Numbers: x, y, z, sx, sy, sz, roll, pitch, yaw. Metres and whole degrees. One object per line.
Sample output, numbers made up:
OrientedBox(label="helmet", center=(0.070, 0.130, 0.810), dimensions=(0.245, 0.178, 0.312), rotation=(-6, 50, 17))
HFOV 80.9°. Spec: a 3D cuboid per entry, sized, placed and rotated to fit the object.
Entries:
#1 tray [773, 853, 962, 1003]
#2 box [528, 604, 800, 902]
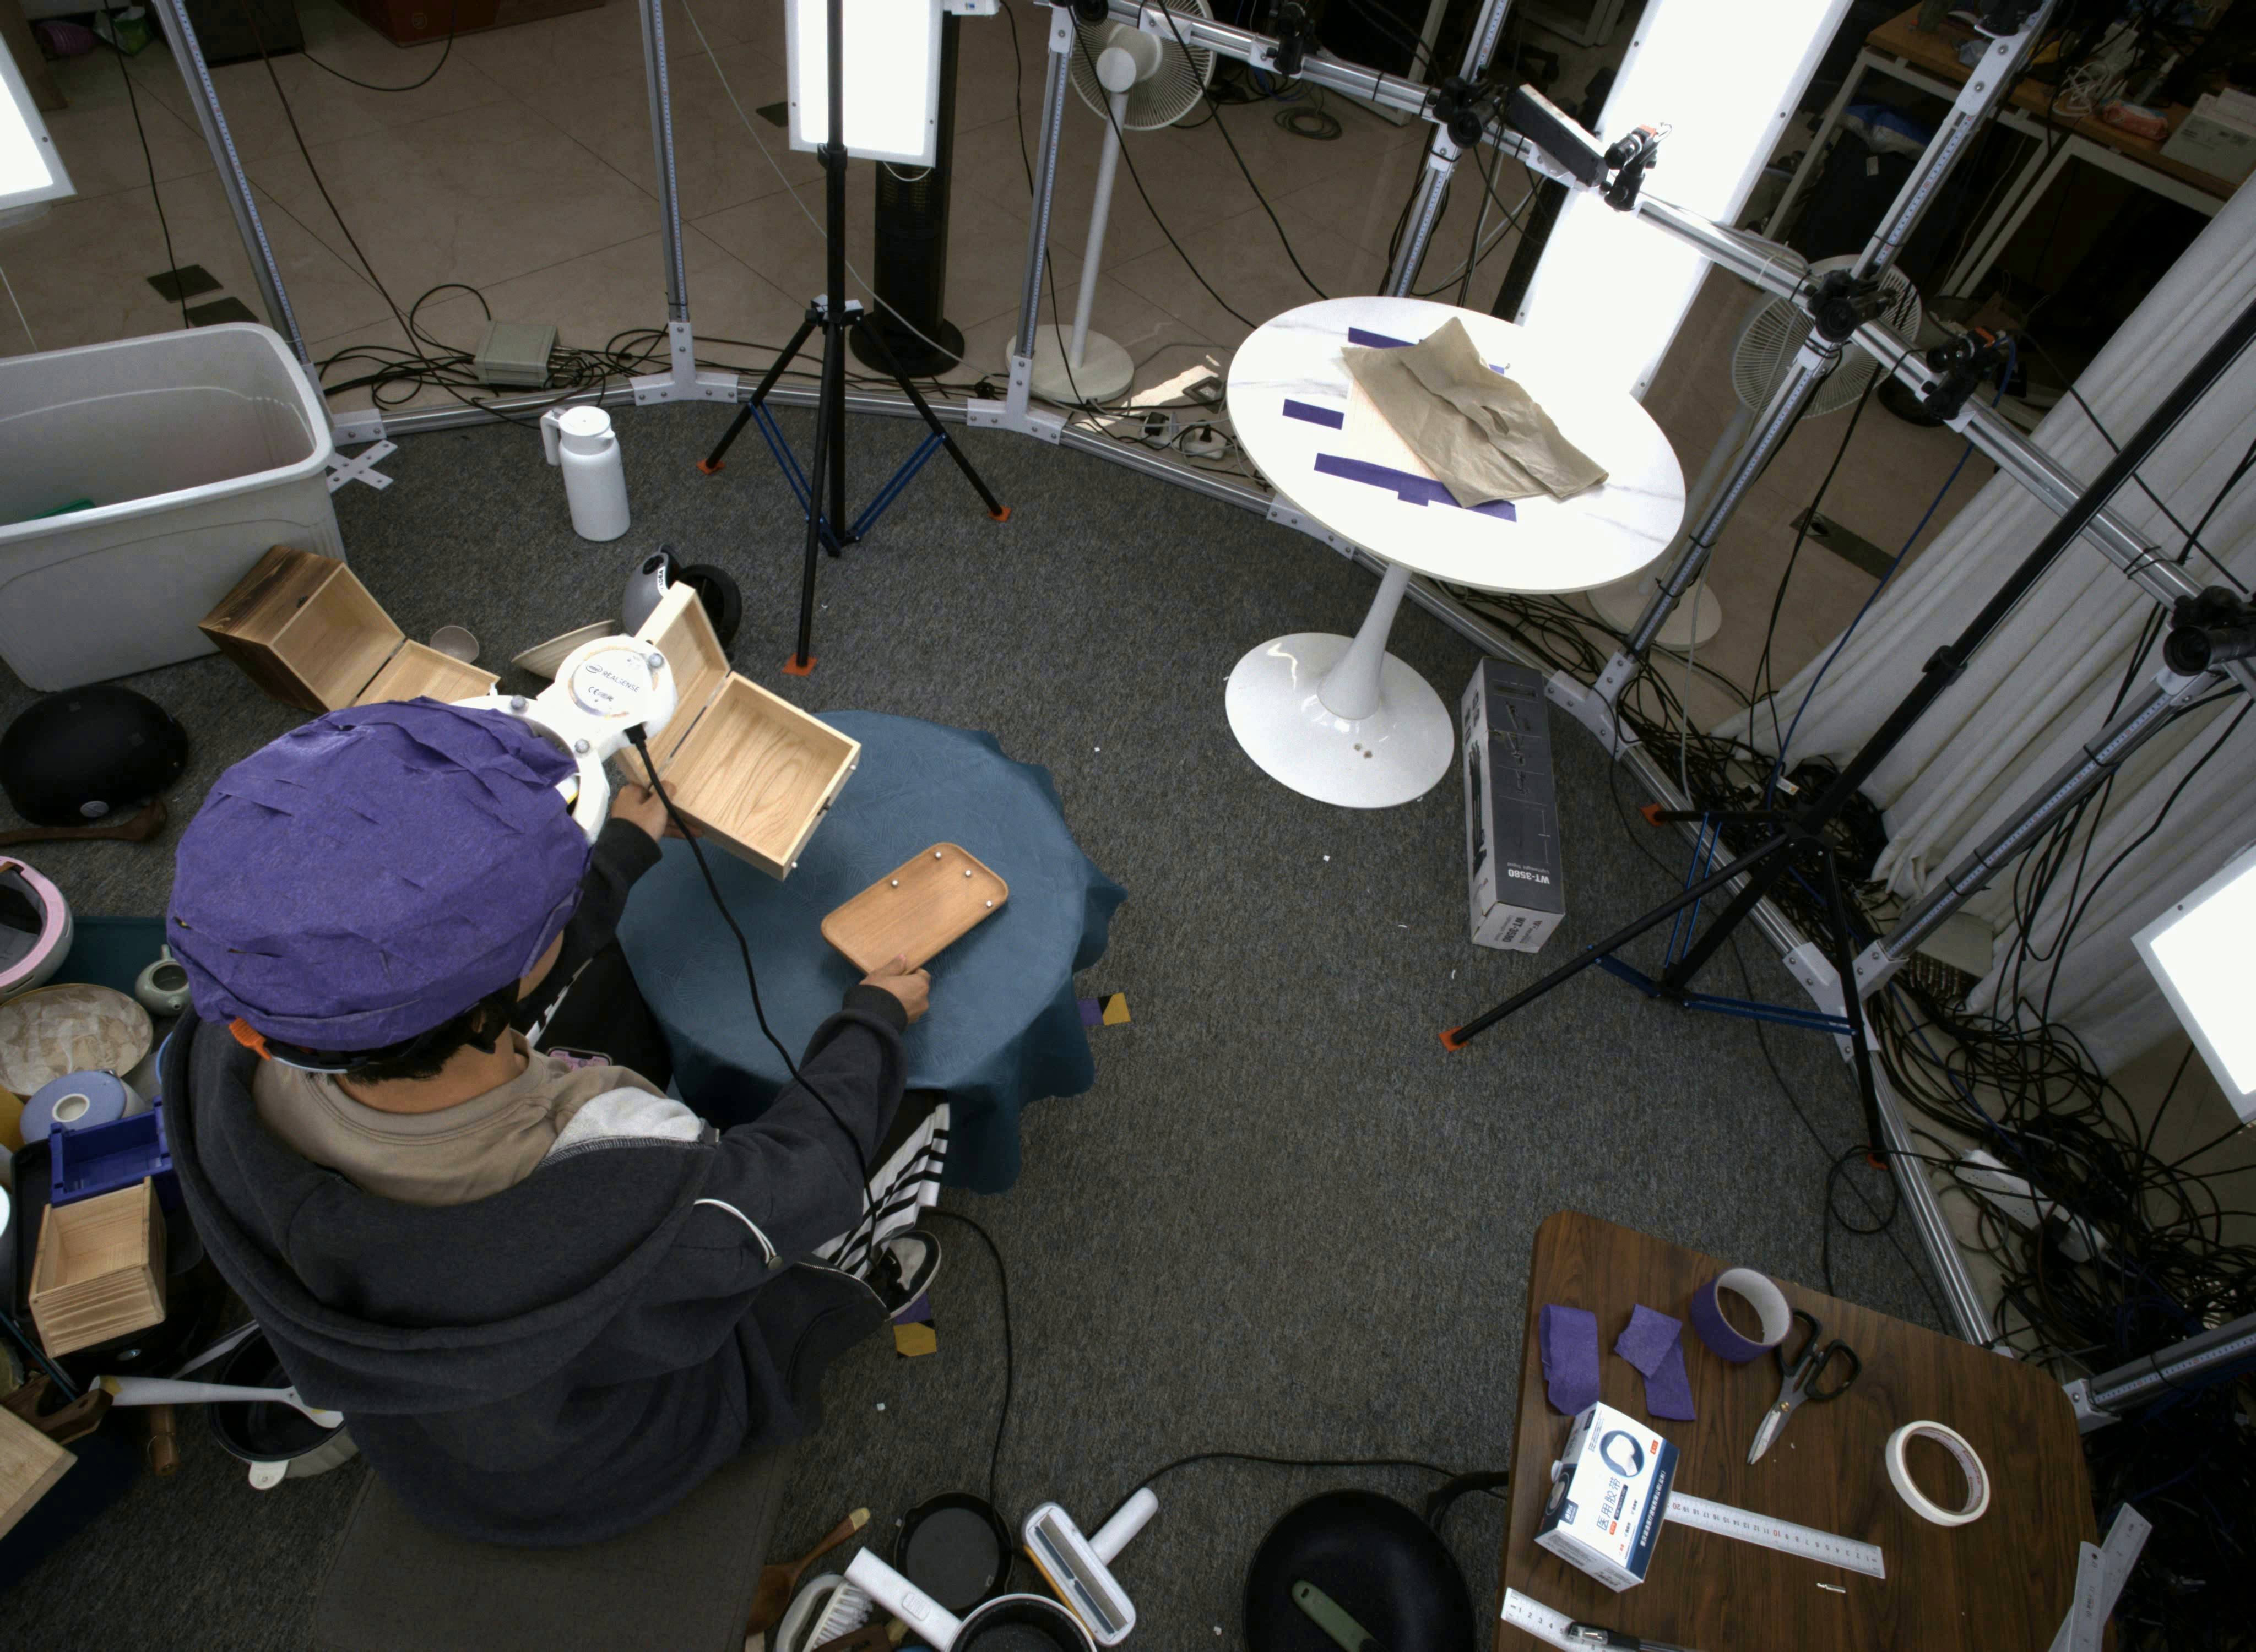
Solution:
OrientedBox(label="tray", center=(-0.321, 0.122, 1.625), dimensions=(0.128, 0.023, 0.251), rotation=(32, 42, 14))
OrientedBox(label="box", center=(-0.528, -0.078, 1.458), dimensions=(0.265, 0.253, 0.181), rotation=(25, 70, -6))
